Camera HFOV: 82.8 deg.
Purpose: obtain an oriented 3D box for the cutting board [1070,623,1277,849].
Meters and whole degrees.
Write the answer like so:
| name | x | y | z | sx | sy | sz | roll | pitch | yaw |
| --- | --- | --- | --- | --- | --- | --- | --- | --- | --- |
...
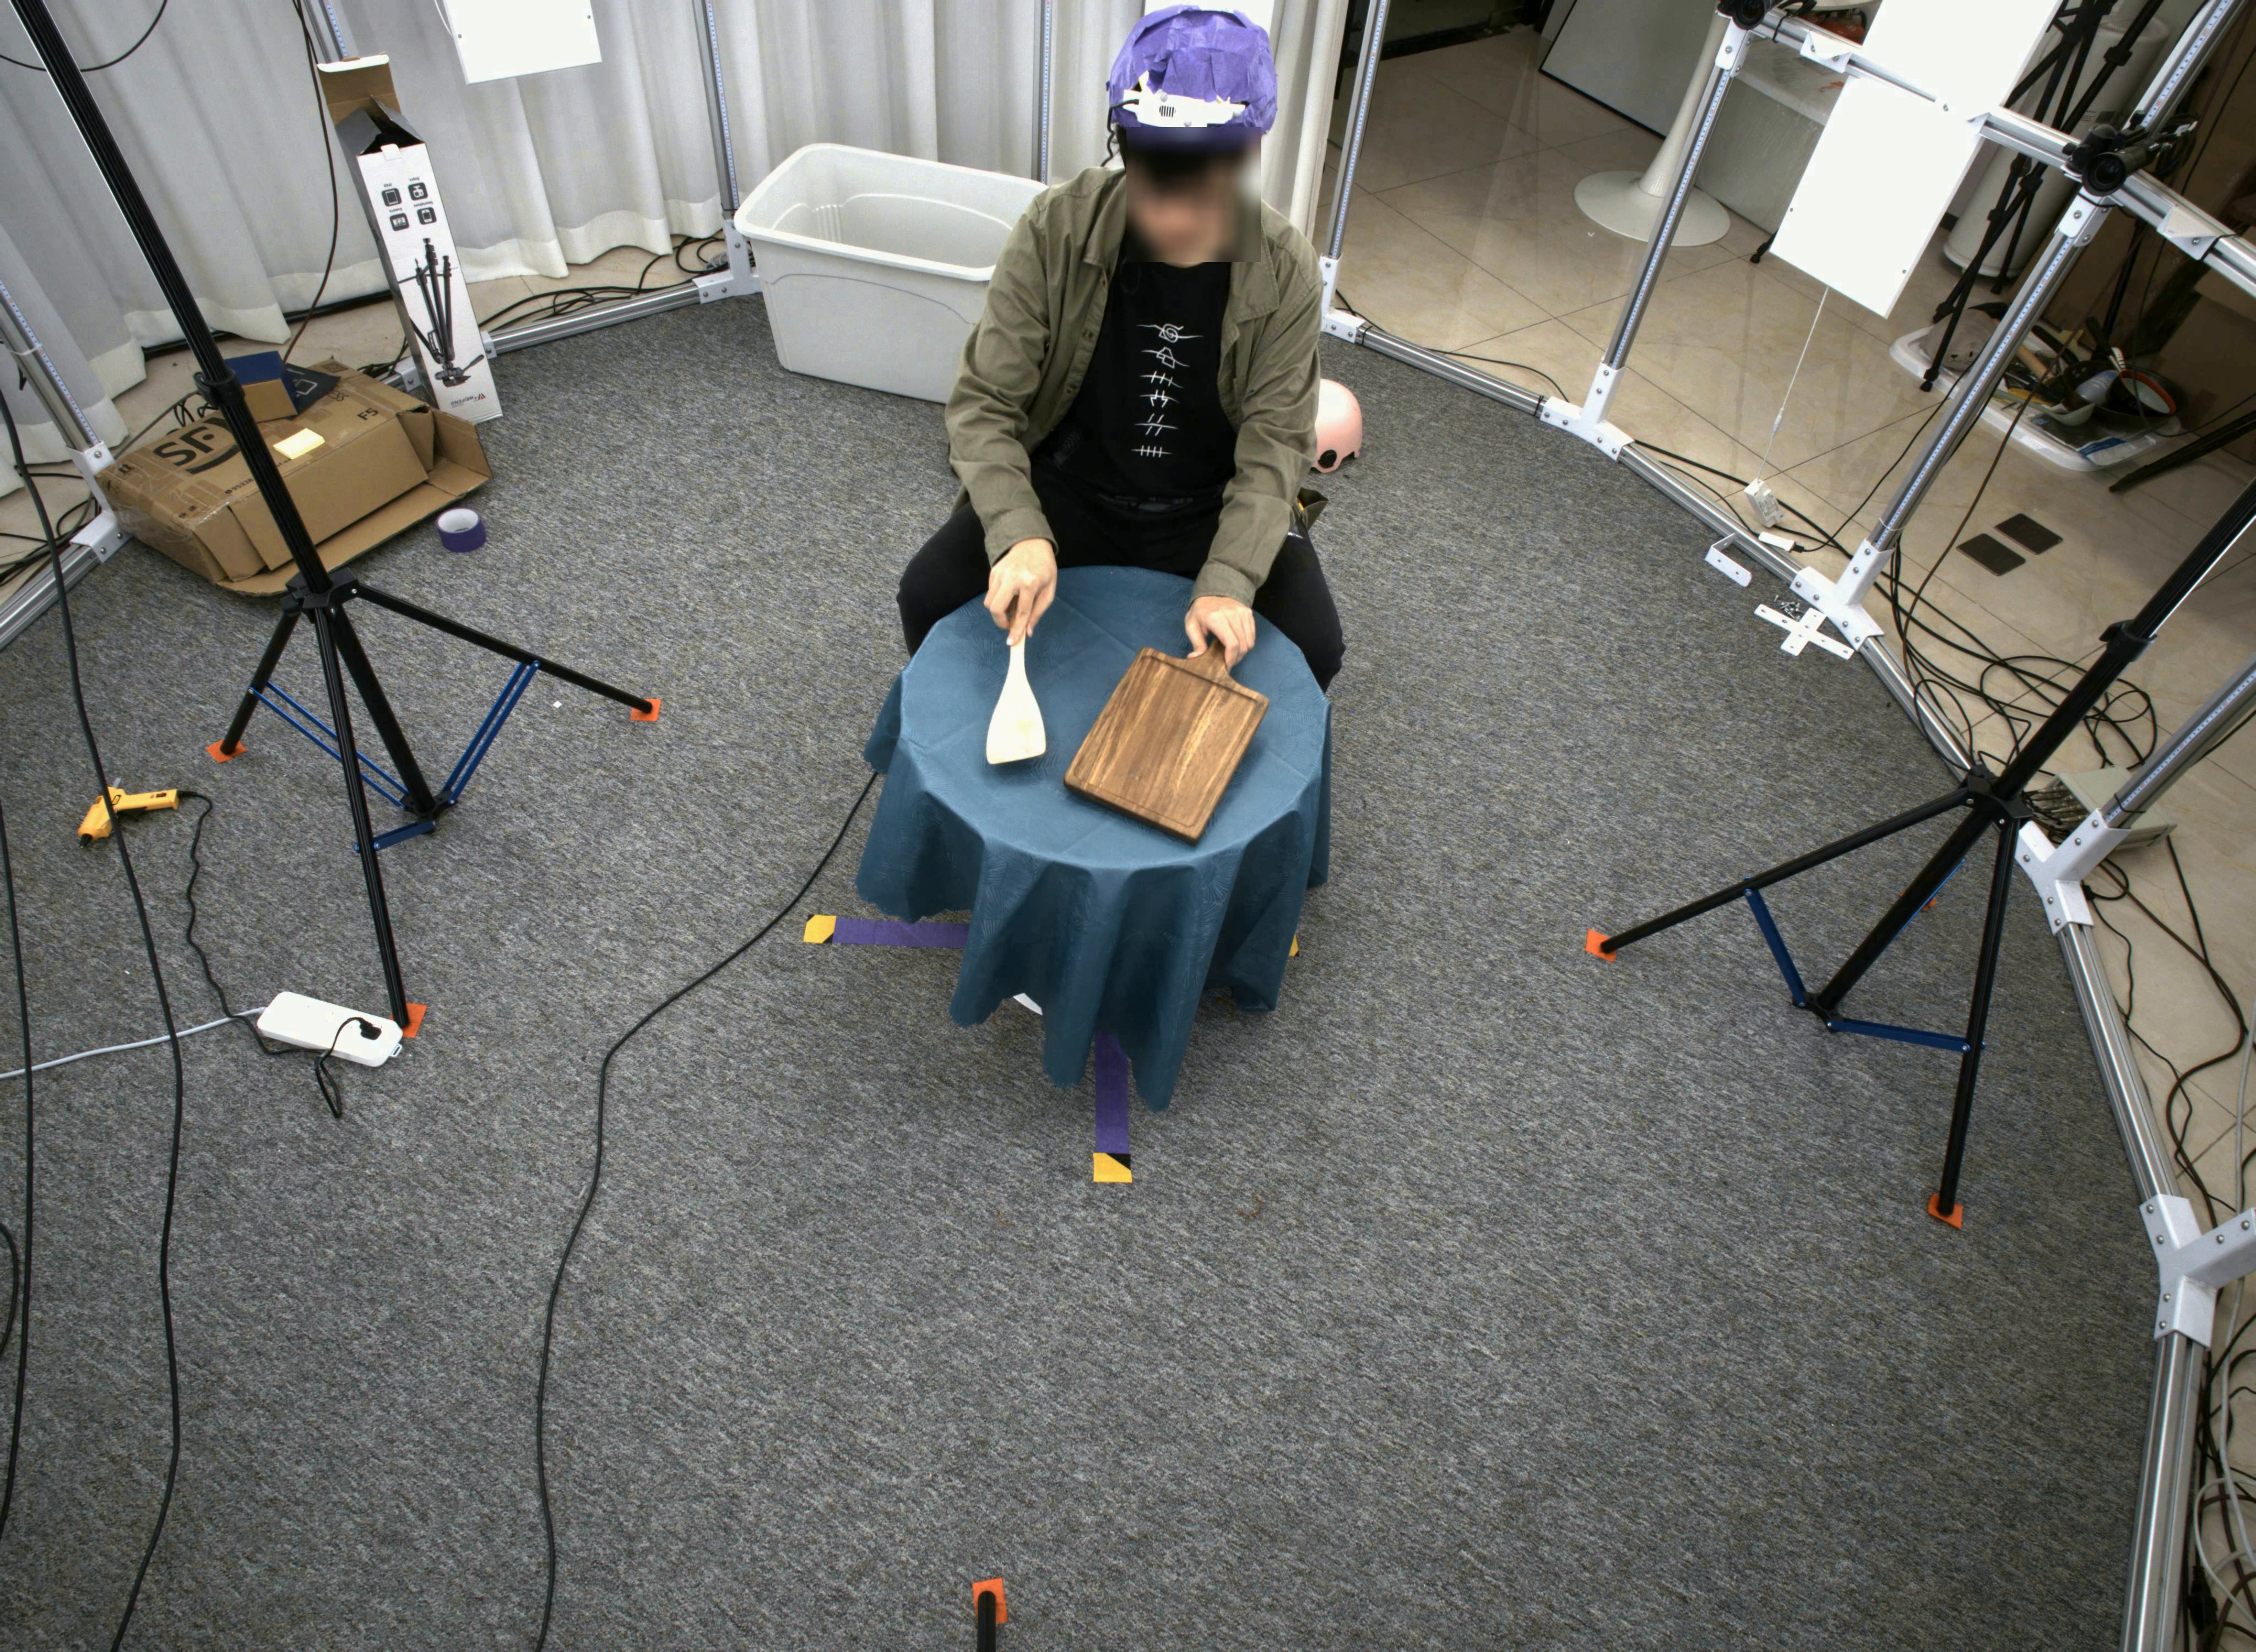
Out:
| name | x | y | z | sx | sy | sz | roll | pitch | yaw |
| --- | --- | --- | --- | --- | --- | --- | --- | --- | --- |
| cutting board | 0.086 | -0.146 | 1.736 | 0.202 | 0.023 | 0.358 | 25 | 61 | 11 |

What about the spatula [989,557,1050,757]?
| name | x | y | z | sx | sy | sz | roll | pitch | yaw |
| --- | --- | --- | --- | --- | --- | --- | --- | --- | --- |
| spatula | -0.151 | -0.237 | 1.763 | 0.080 | 0.016 | 0.334 | -3 | 63 | -1 |
